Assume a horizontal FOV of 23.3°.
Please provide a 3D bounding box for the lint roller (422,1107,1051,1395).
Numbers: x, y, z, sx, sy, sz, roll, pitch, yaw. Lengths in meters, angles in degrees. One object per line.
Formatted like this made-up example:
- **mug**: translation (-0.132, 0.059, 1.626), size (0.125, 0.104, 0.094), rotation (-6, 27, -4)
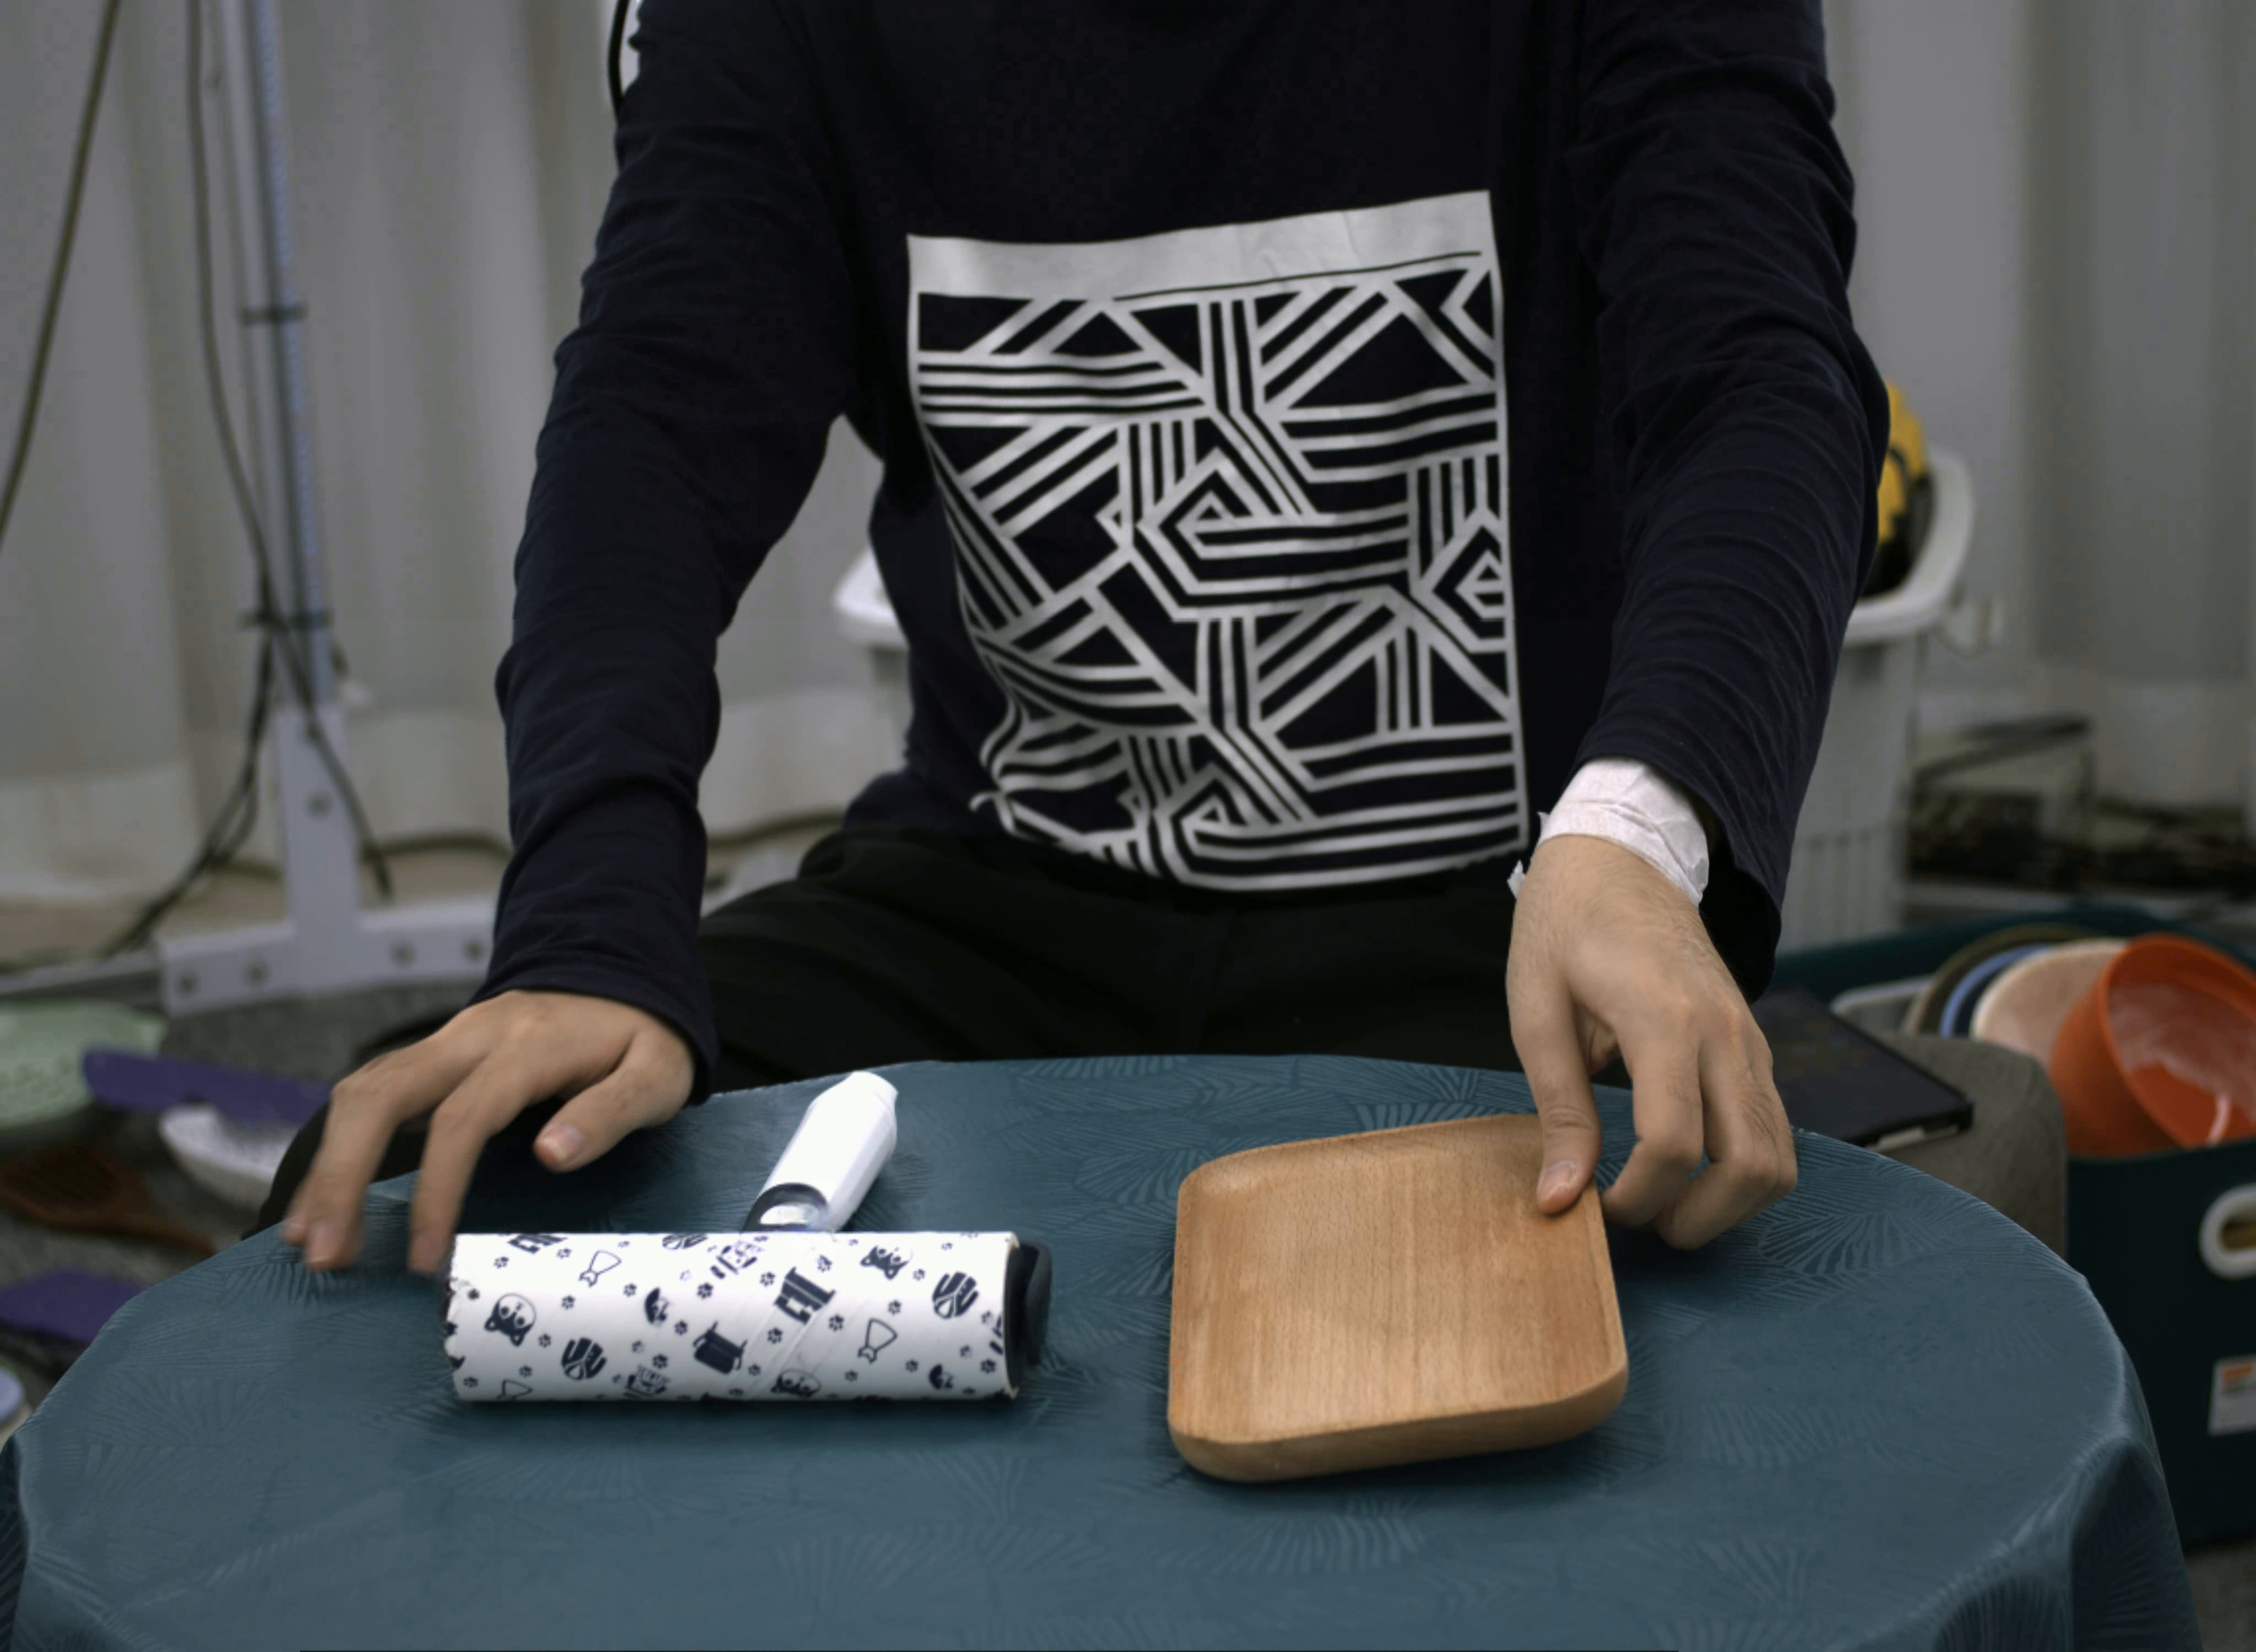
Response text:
- **lint roller**: translation (-0.101, 0.117, 1.651), size (0.176, 0.050, 0.248), rotation (-2, 12, 6)

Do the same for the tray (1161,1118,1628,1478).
- **tray**: translation (0.076, 0.134, 1.581), size (0.130, 0.023, 0.252), rotation (-5, 14, 4)
